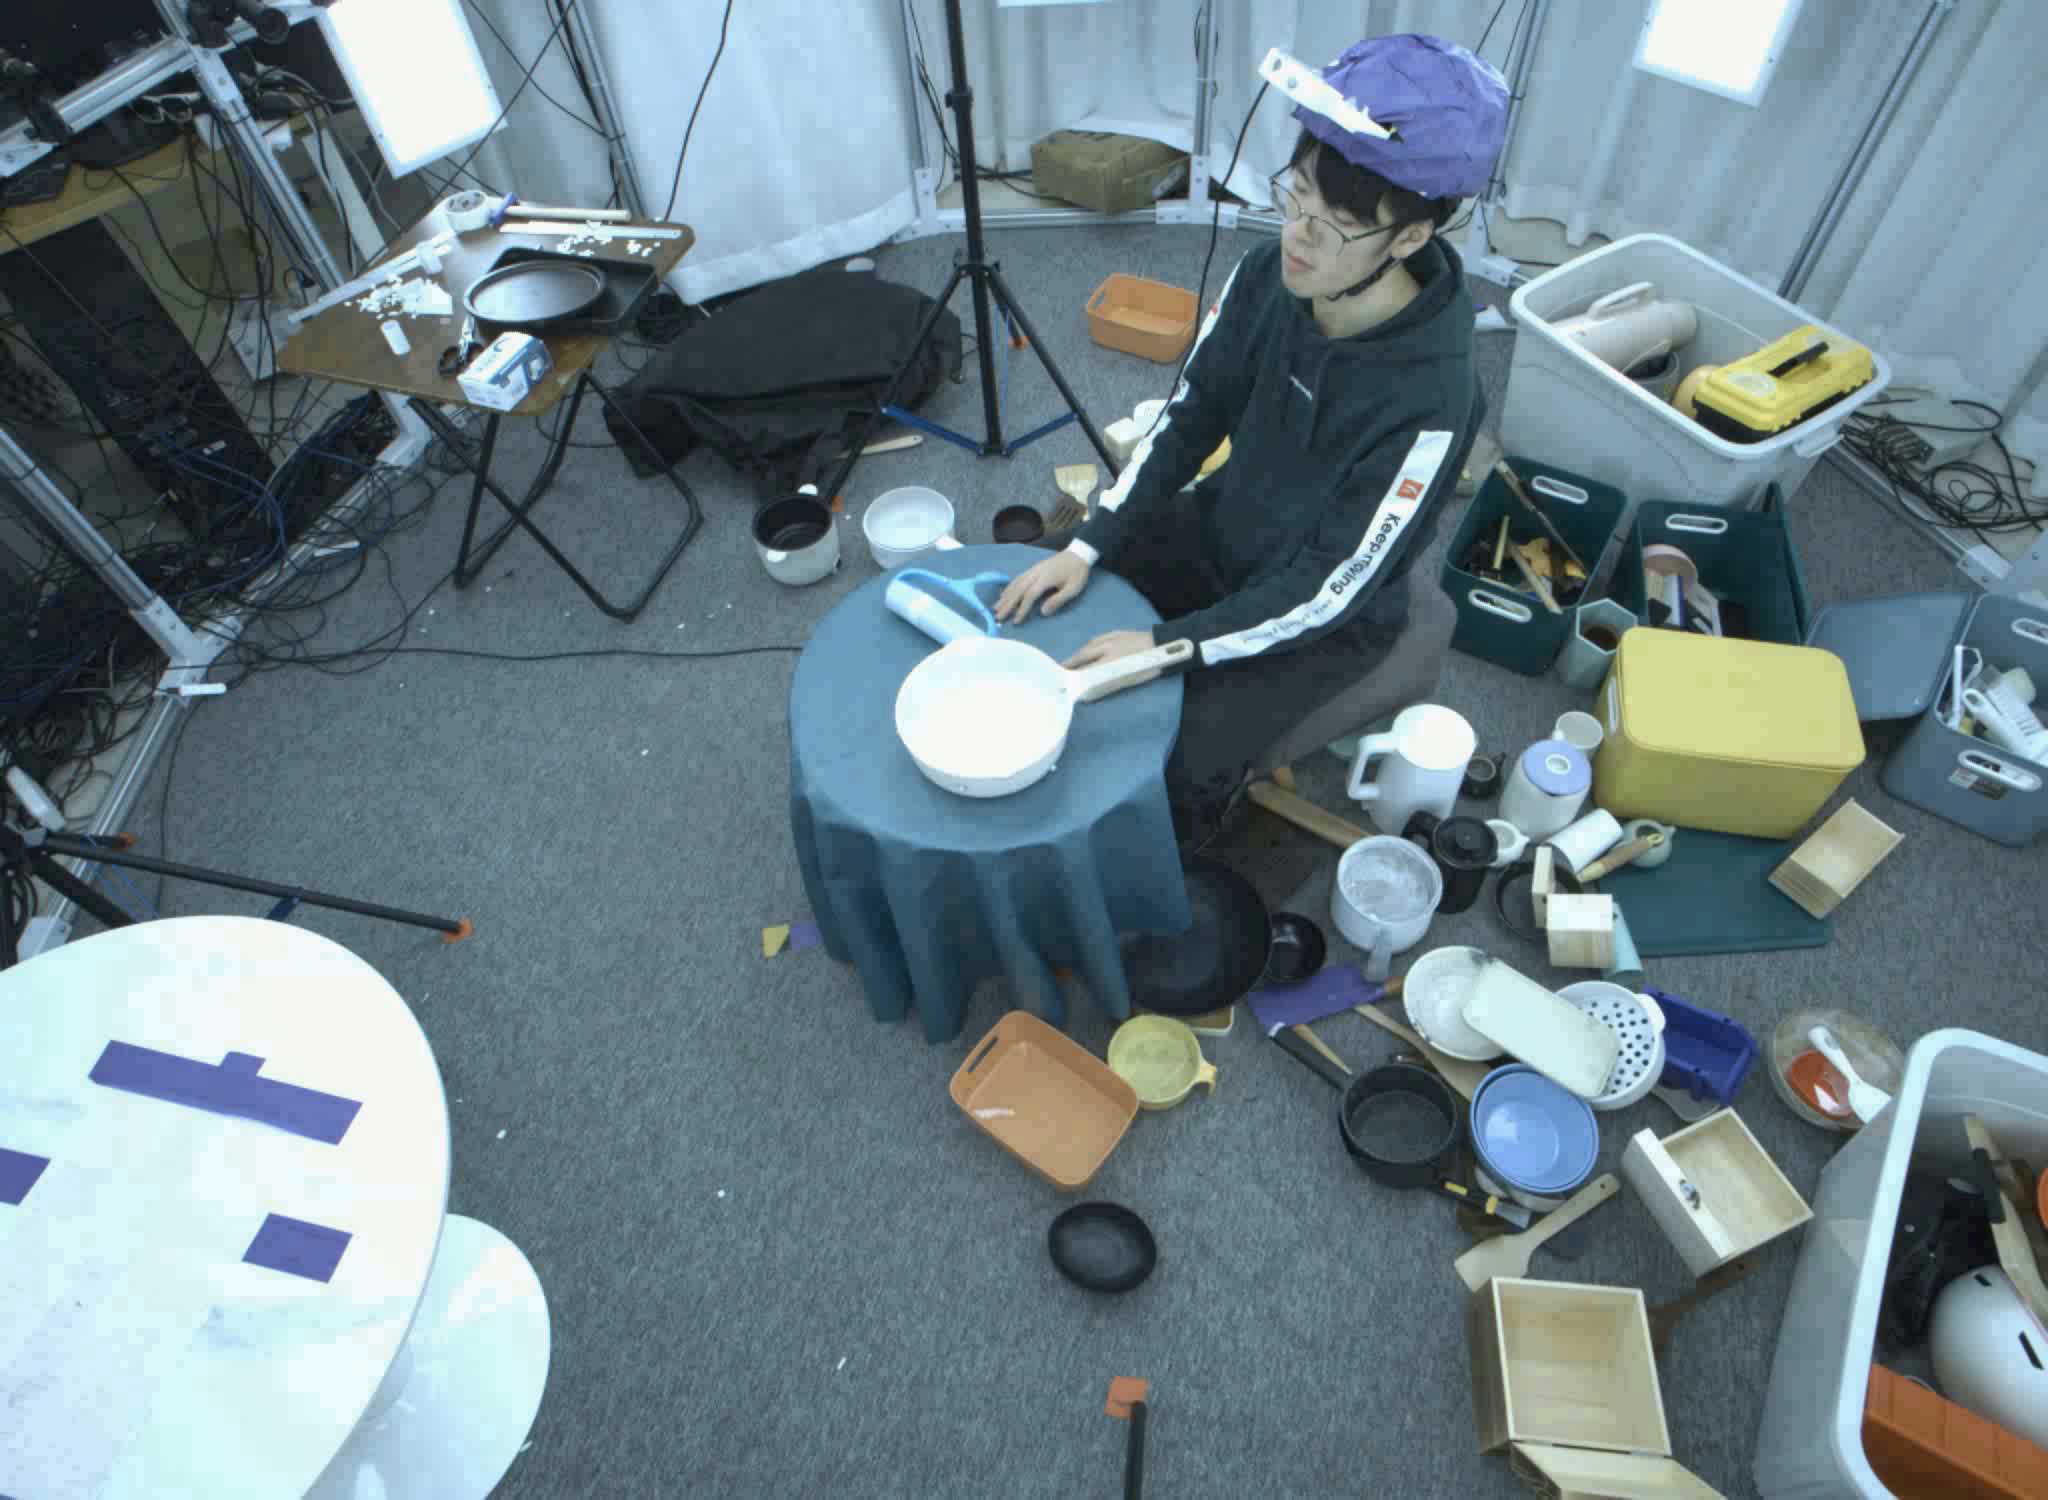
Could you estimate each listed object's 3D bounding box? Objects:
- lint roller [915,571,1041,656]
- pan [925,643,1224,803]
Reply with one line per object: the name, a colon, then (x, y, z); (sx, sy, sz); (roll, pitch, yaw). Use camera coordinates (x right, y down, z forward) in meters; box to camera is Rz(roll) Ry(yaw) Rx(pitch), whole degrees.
lint roller: (-0.045, -0.233, 1.915); (0.225, 0.069, 0.181); (34, 63, 25)
pan: (0.077, -0.058, 1.760); (0.437, 0.103, 0.259); (-13, 54, -7)
